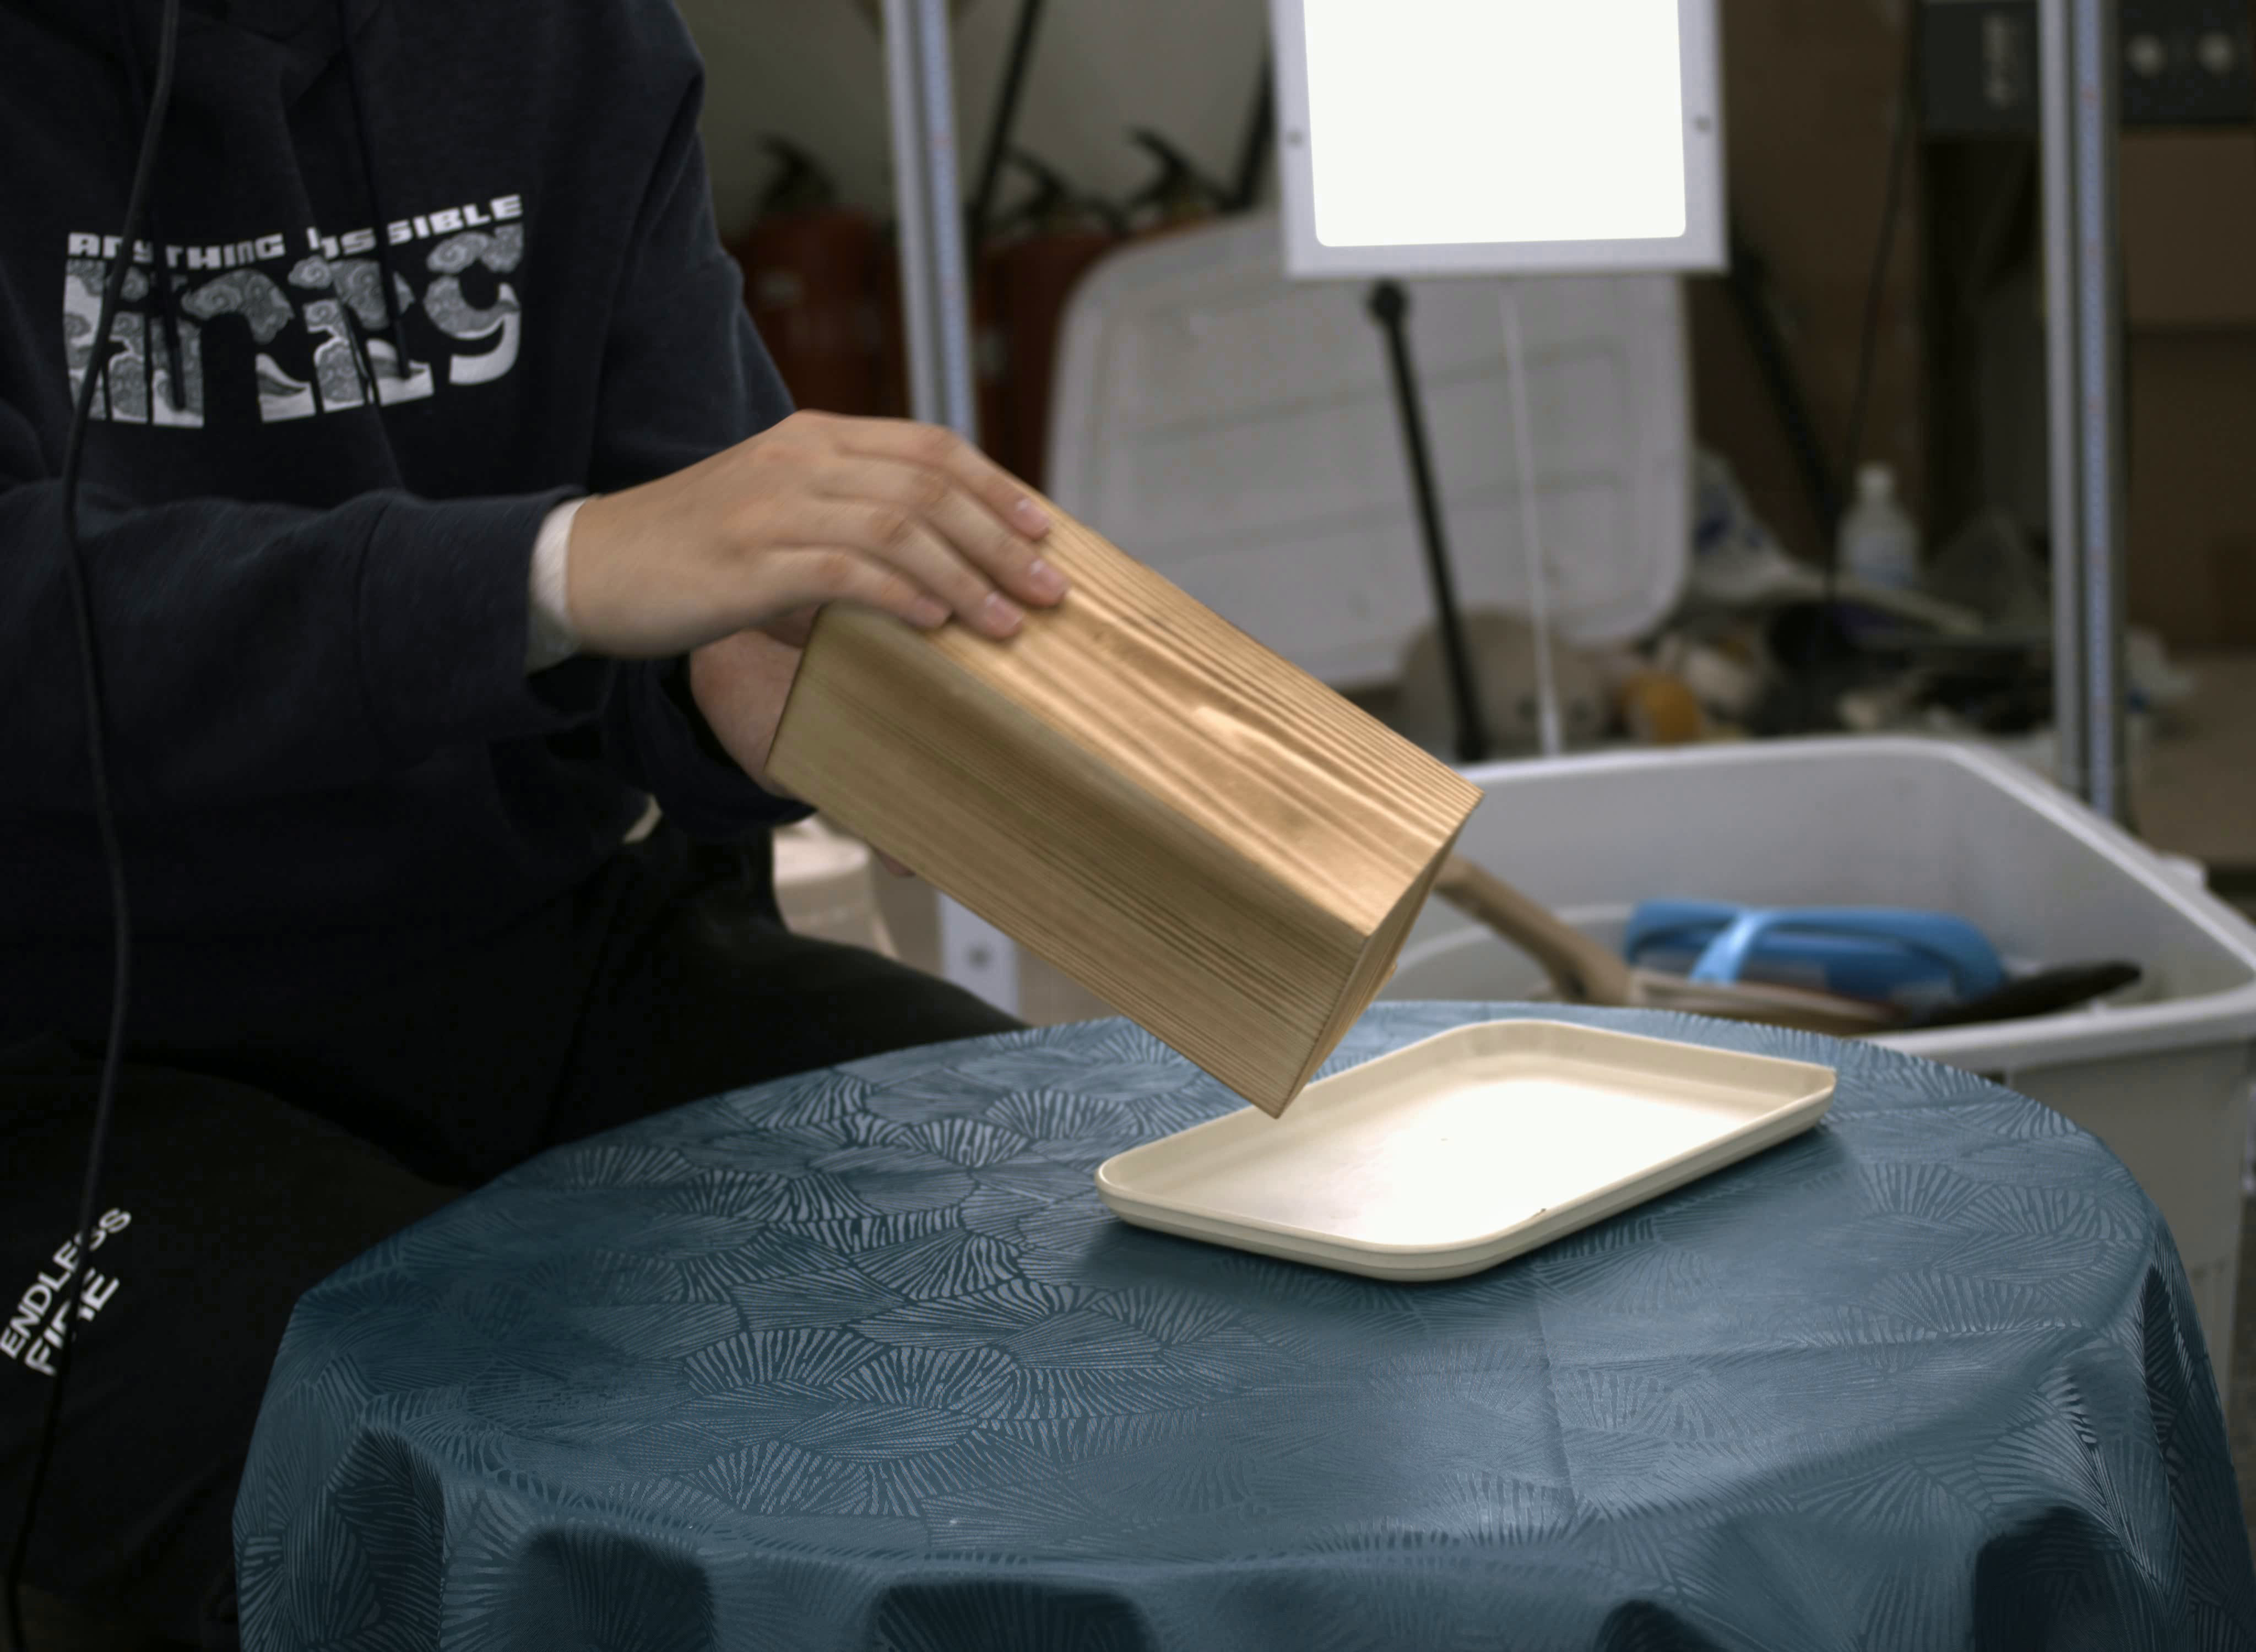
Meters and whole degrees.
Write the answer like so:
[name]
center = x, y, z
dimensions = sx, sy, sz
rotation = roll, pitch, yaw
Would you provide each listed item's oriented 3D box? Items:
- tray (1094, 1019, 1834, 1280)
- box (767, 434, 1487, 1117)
[tray]
center = 0.118, 0.110, 1.888
dimensions = 0.175, 0.017, 0.233
rotation = 7, 18, 44
[box]
center = -0.003, -0.017, 1.807
dimensions = 0.212, 0.109, 0.078
rotation = 35, 50, 10
